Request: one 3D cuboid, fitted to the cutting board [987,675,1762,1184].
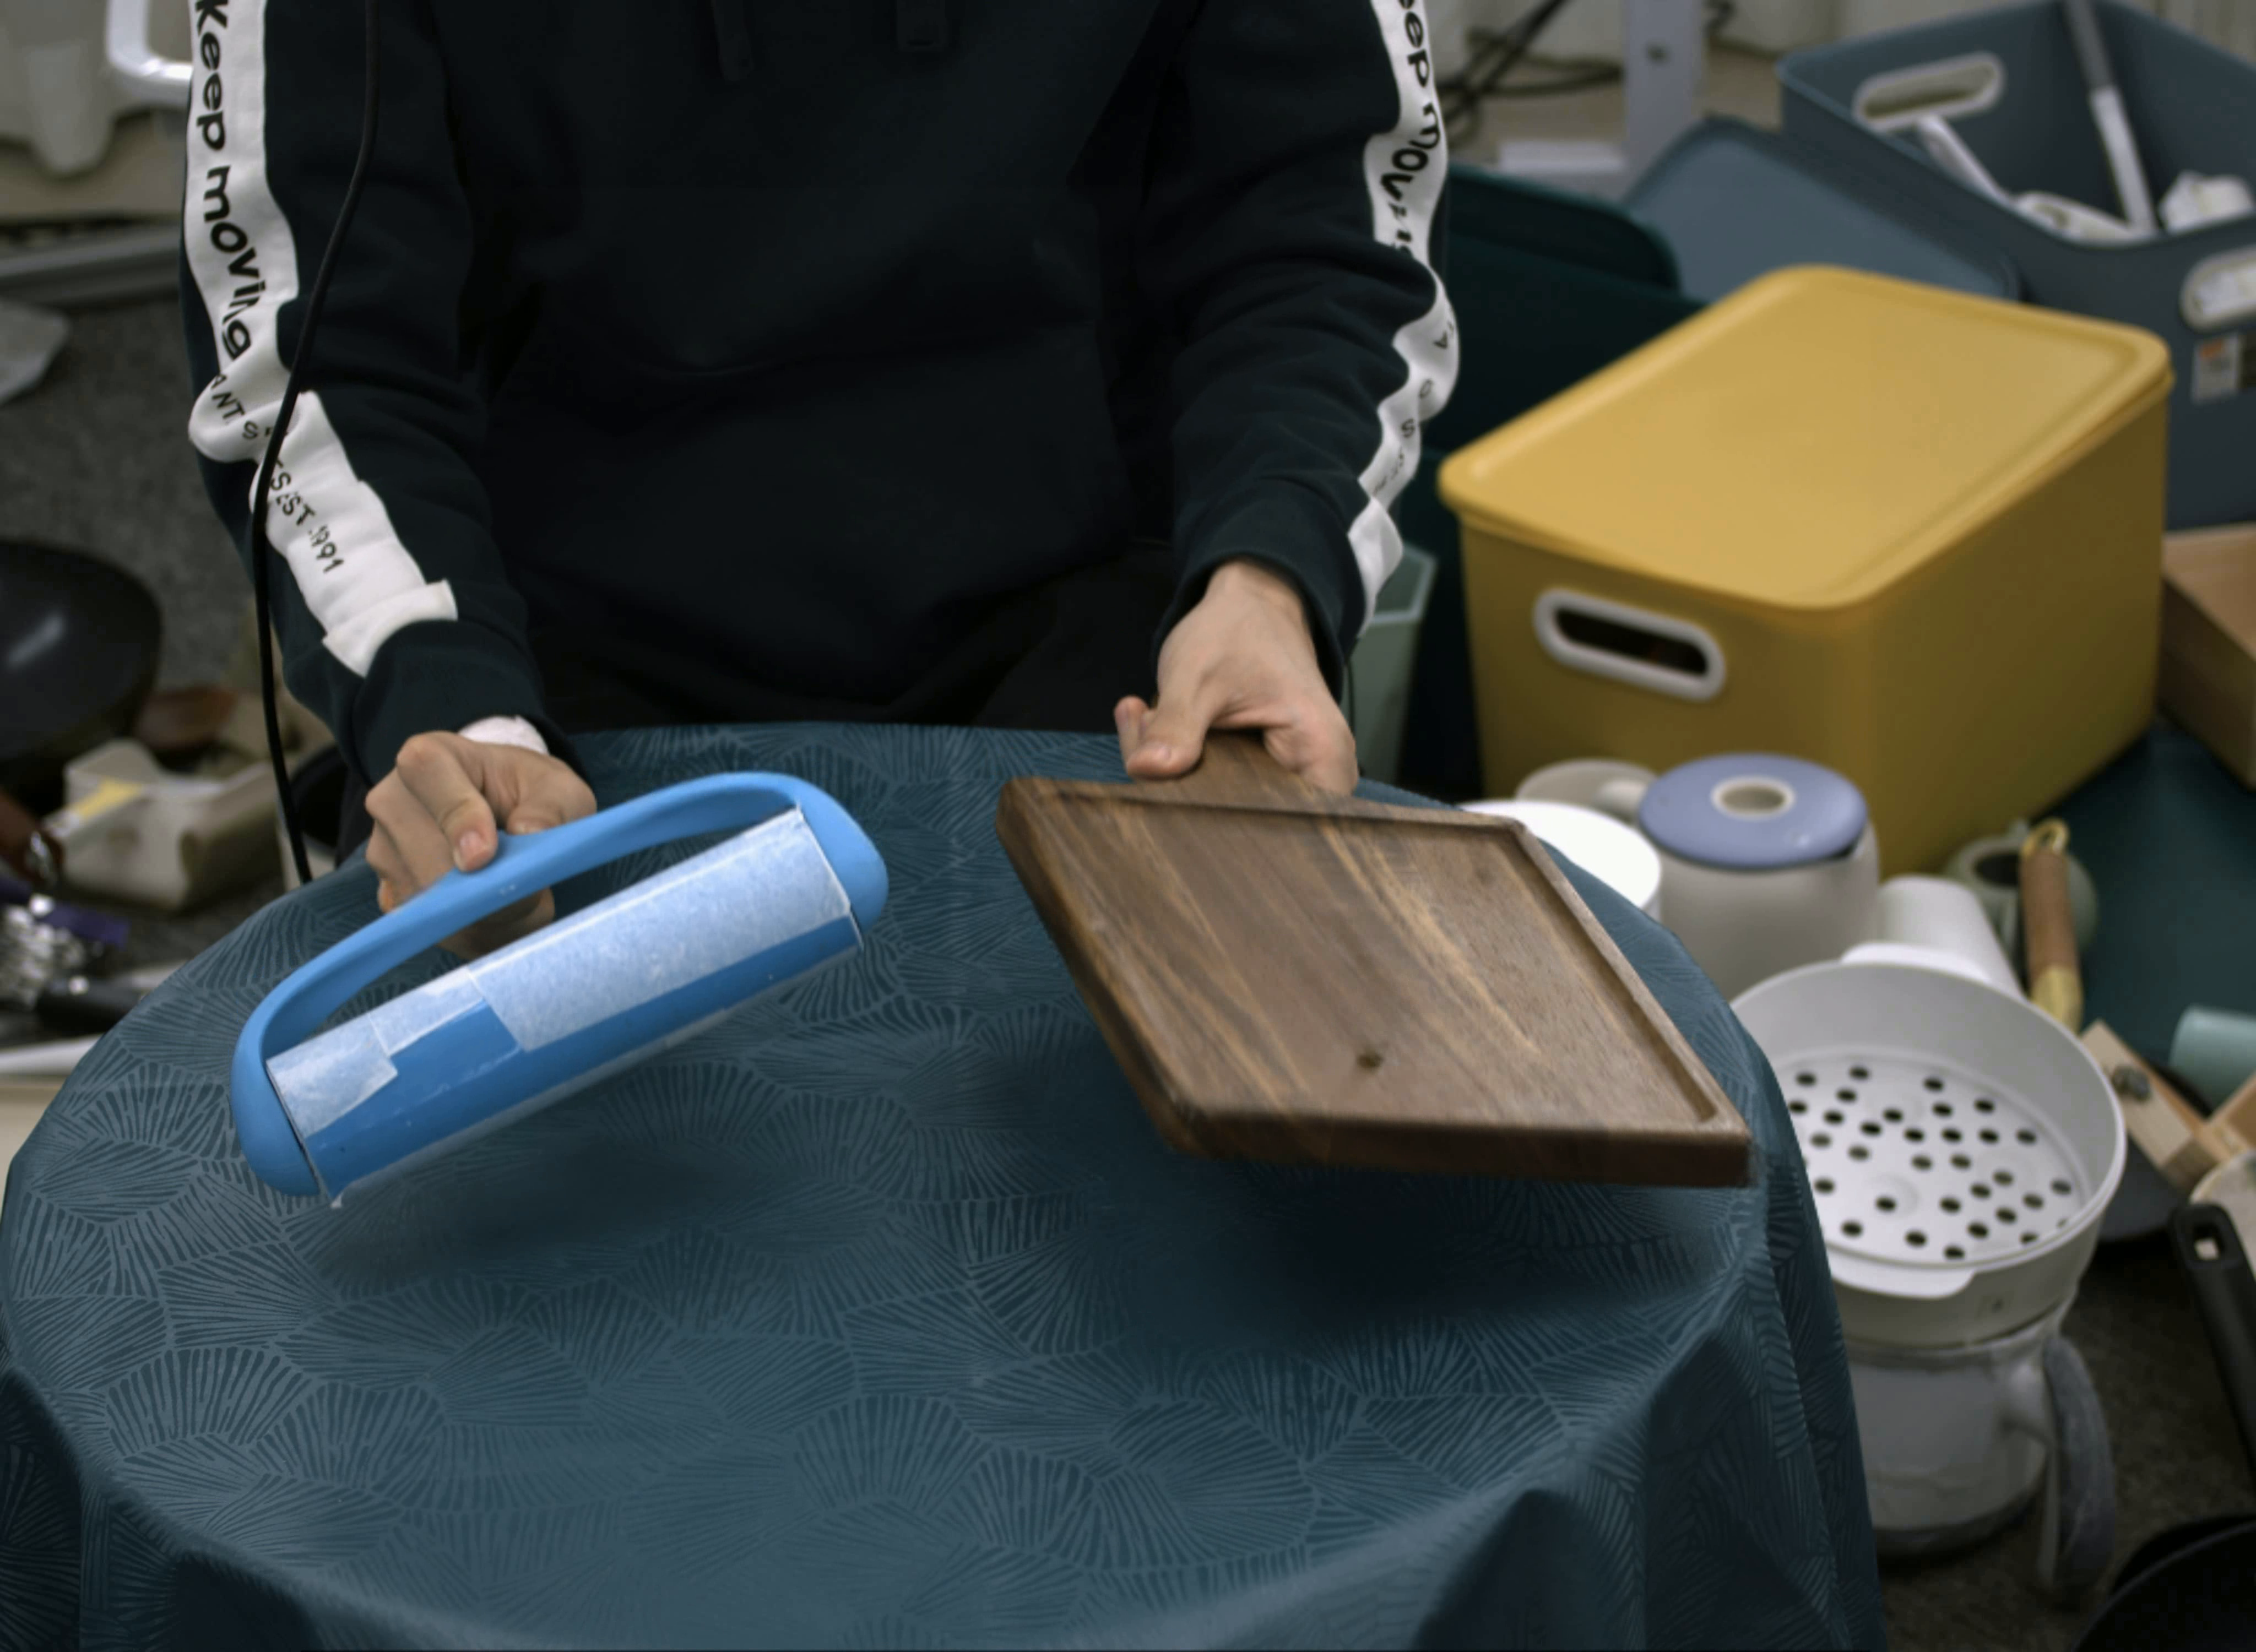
[{"bbox_3d":[0.064,0.026,1.895,0.201,0.023,0.355,6,22,-19],"label":"cutting board"}]

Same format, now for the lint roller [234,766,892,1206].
[{"bbox_3d":[-0.203,0.036,1.882,0.229,0.067,0.181,-28,28,-11],"label":"lint roller"}]
